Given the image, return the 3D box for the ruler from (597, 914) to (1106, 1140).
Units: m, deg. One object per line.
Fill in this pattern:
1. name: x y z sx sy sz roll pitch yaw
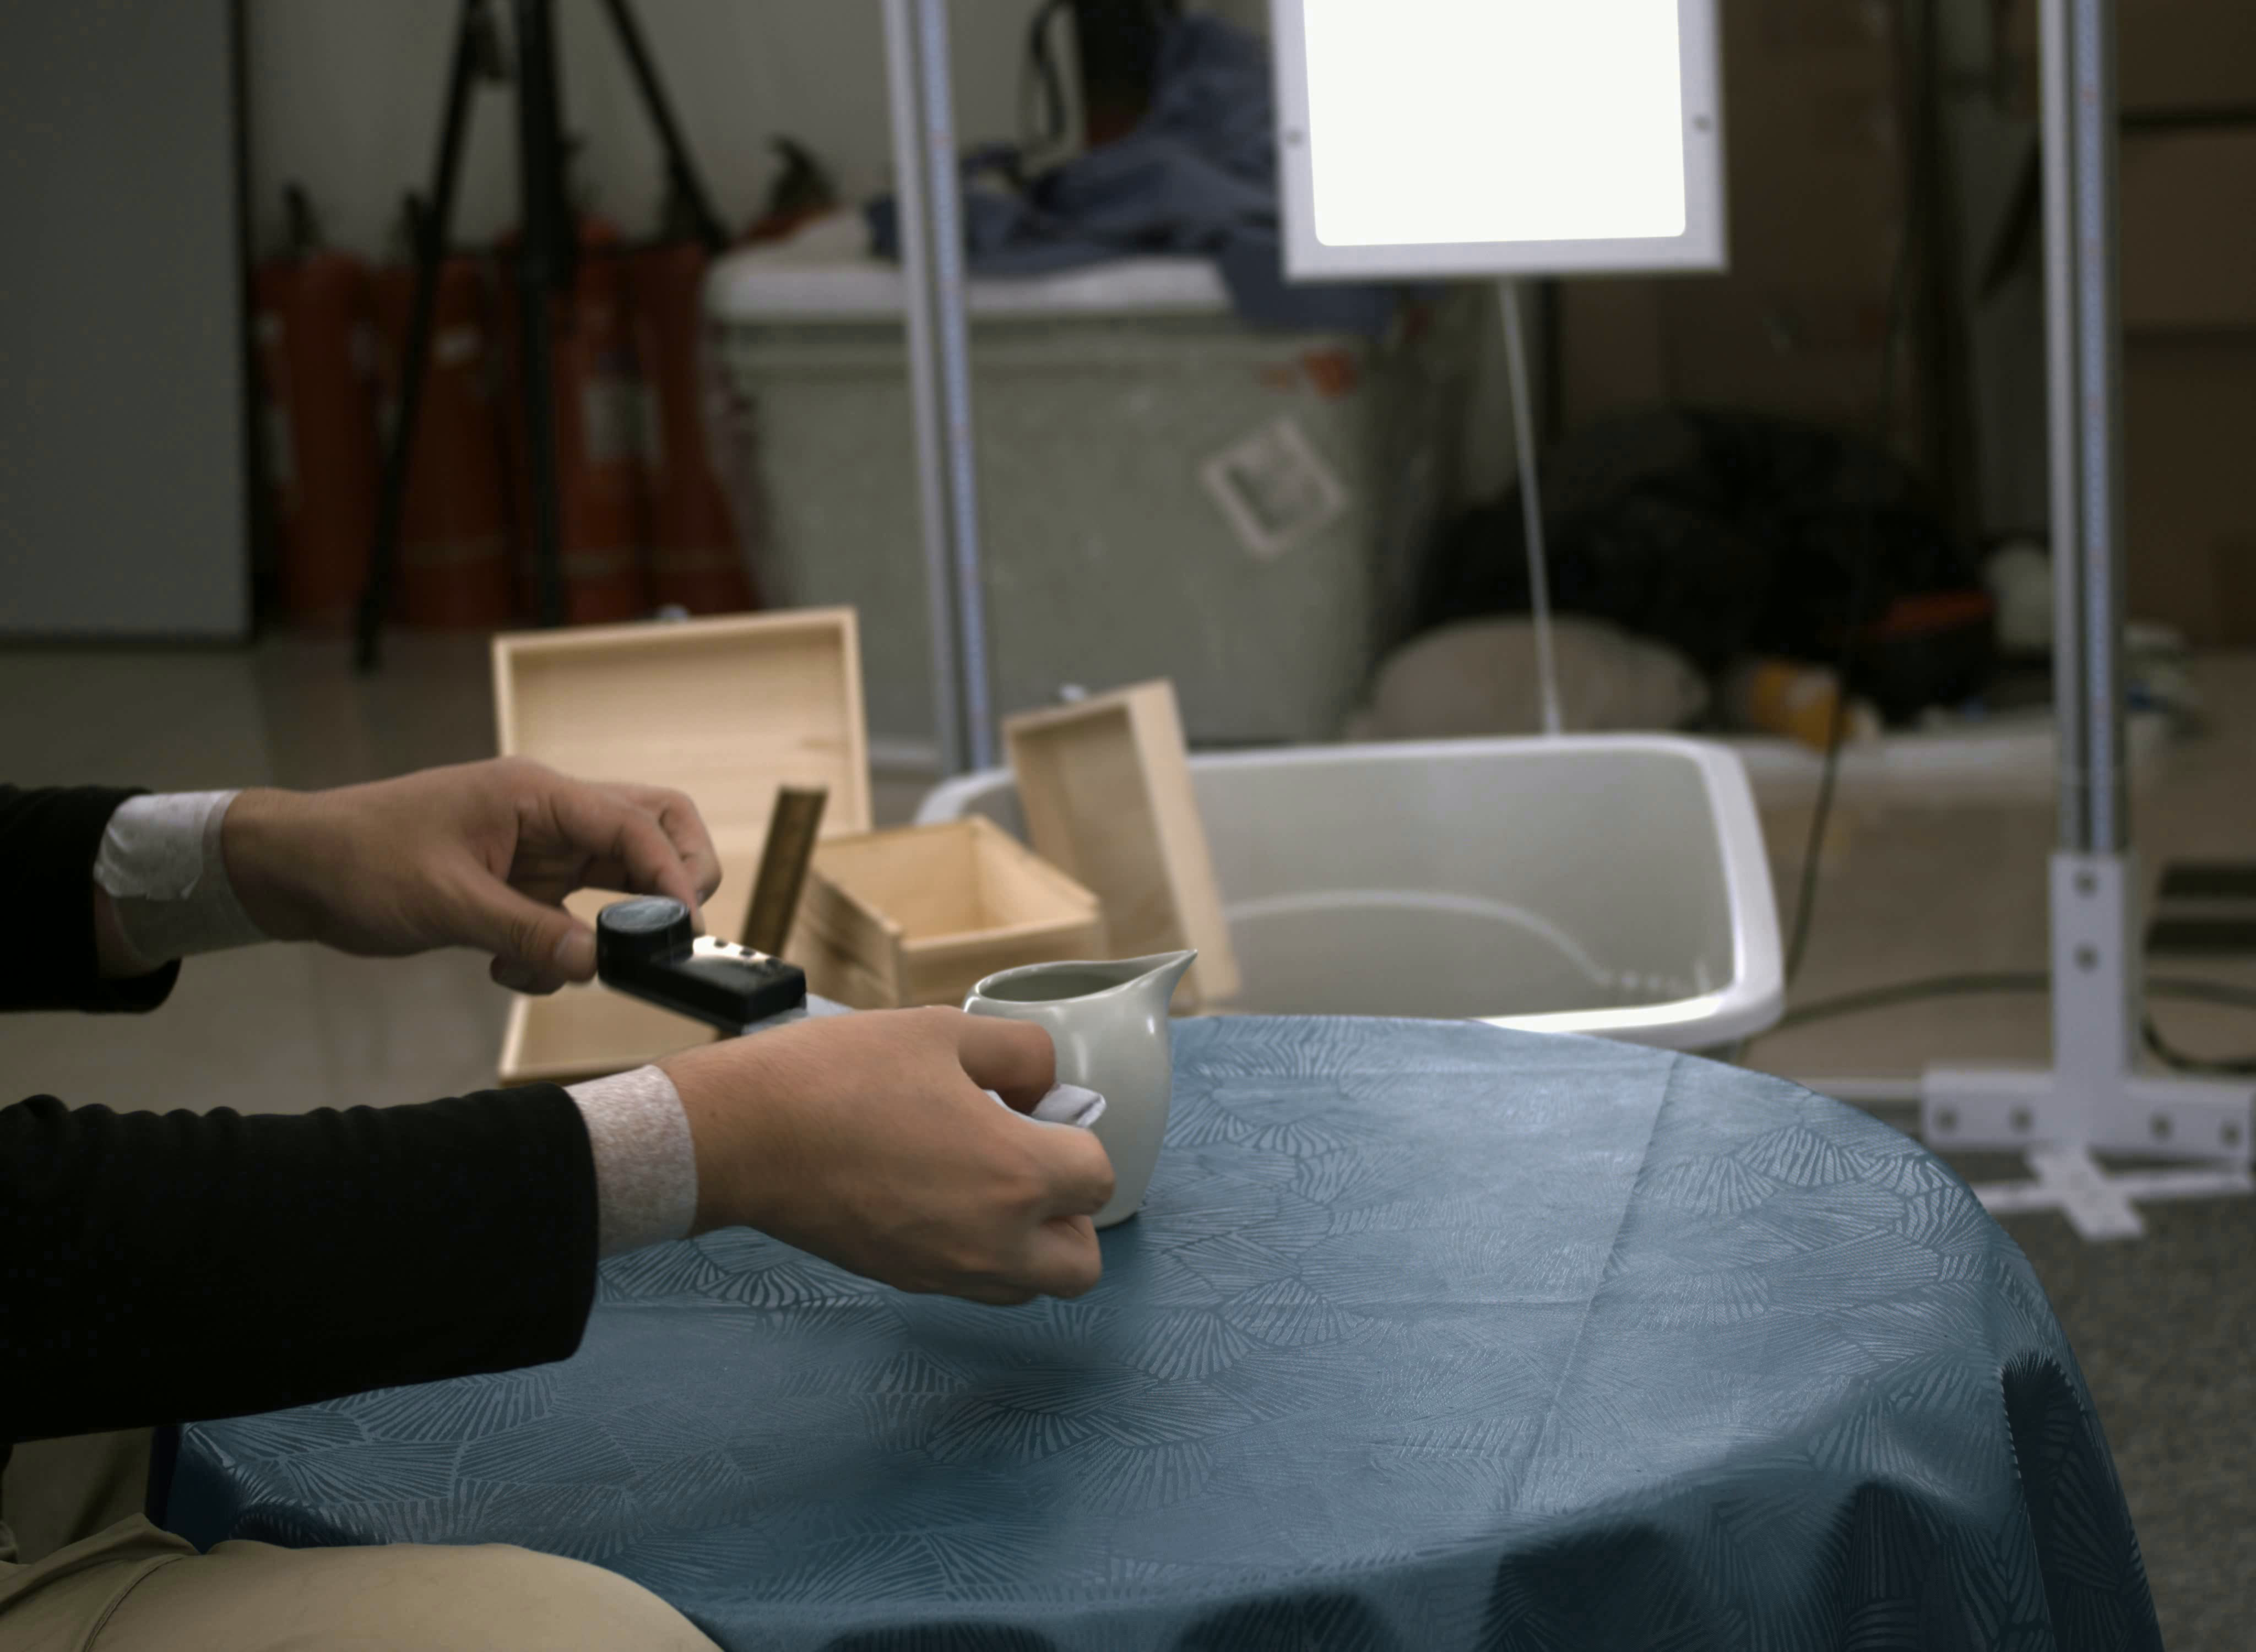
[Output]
1. ruler: -0.097 0.063 1.799 0.223 0.024 0.037 14 36 44

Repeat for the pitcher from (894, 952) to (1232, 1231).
1. pitcher: -0.021 0.090 1.870 0.118 0.088 0.076 -4 10 -2
